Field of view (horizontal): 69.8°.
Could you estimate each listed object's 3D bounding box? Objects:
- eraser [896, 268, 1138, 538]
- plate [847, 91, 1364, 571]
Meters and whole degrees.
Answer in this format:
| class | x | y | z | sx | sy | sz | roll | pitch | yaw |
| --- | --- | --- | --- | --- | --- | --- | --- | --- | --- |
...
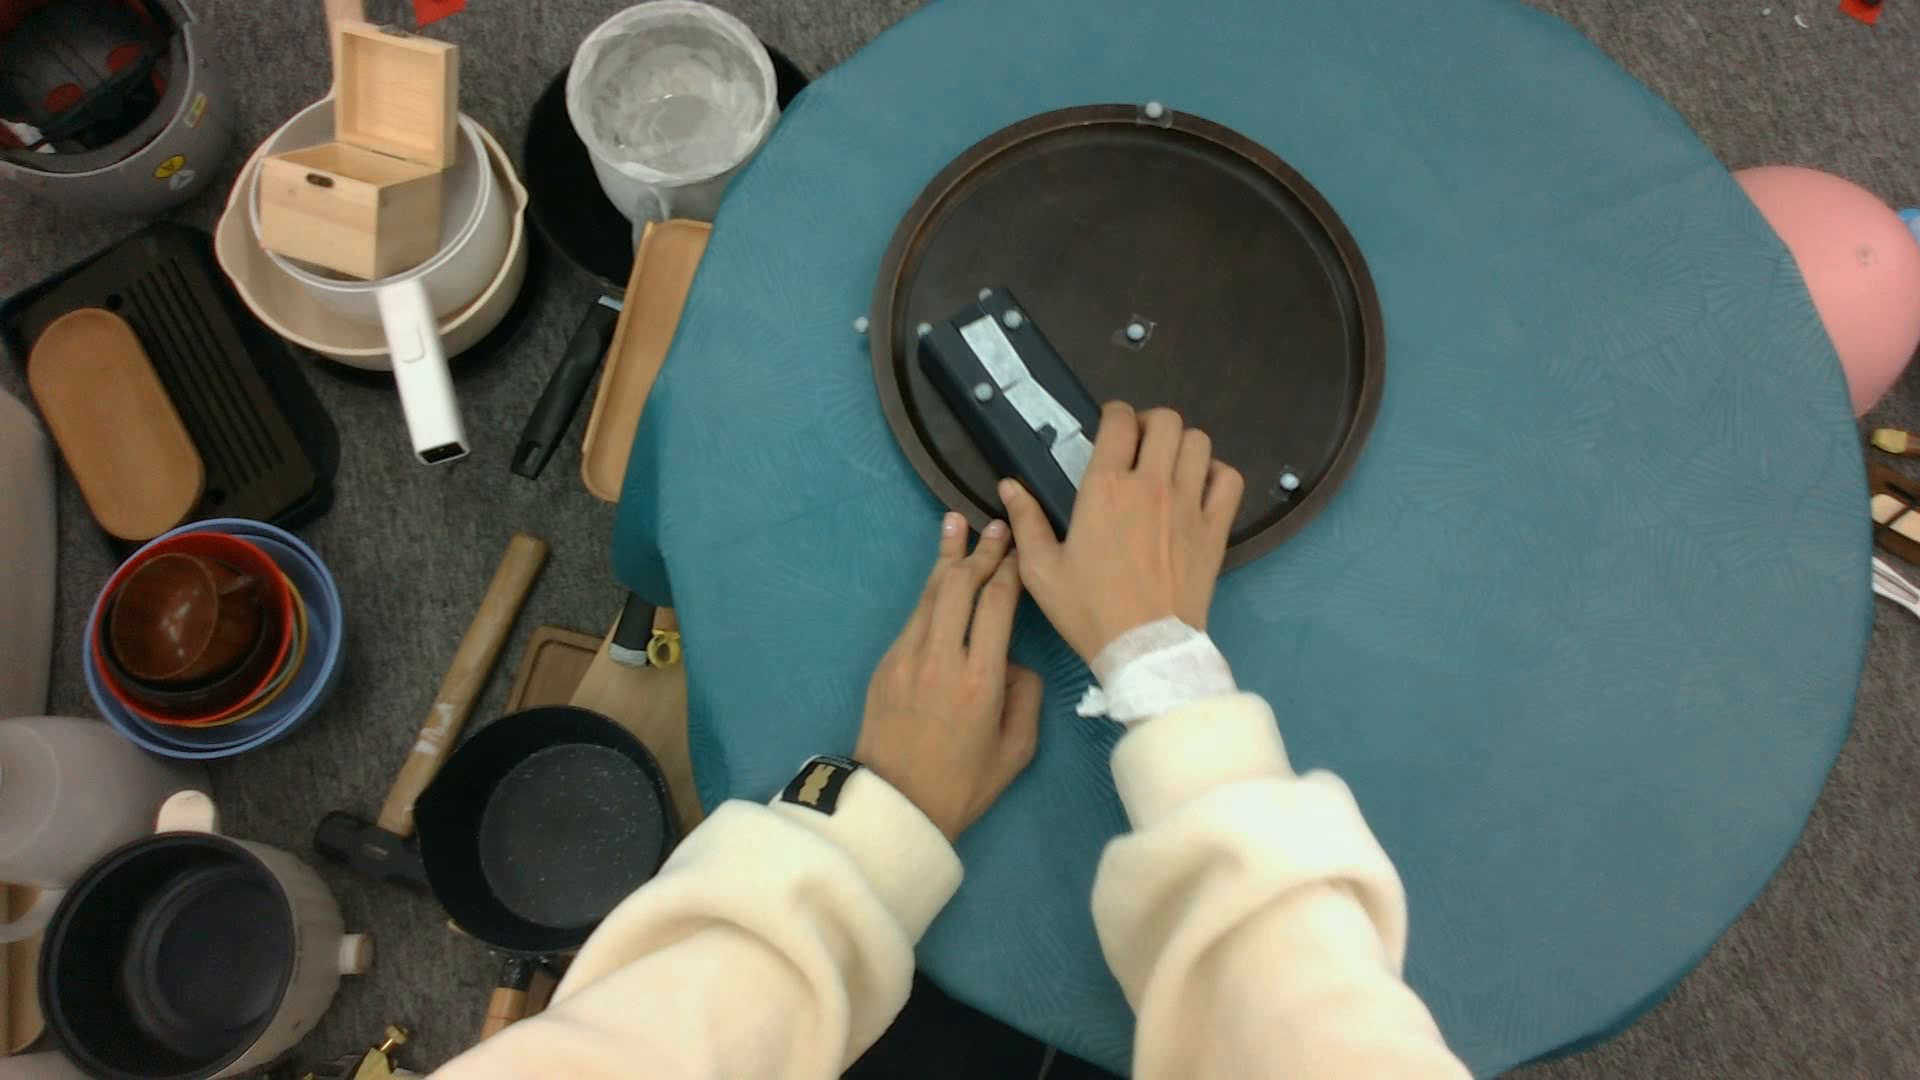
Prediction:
| class | x | y | z | sx | sy | sz | roll | pitch | yaw |
| --- | --- | --- | --- | --- | --- | --- | --- | --- | --- |
| eraser | 0.025 | -0.065 | 0.649 | 0.053 | 0.030 | 0.125 | -34 | 78 | -9 |
| plate | 0.072 | -0.106 | 0.679 | 0.255 | 0.029 | 0.255 | 1 | 73 | -3 |
